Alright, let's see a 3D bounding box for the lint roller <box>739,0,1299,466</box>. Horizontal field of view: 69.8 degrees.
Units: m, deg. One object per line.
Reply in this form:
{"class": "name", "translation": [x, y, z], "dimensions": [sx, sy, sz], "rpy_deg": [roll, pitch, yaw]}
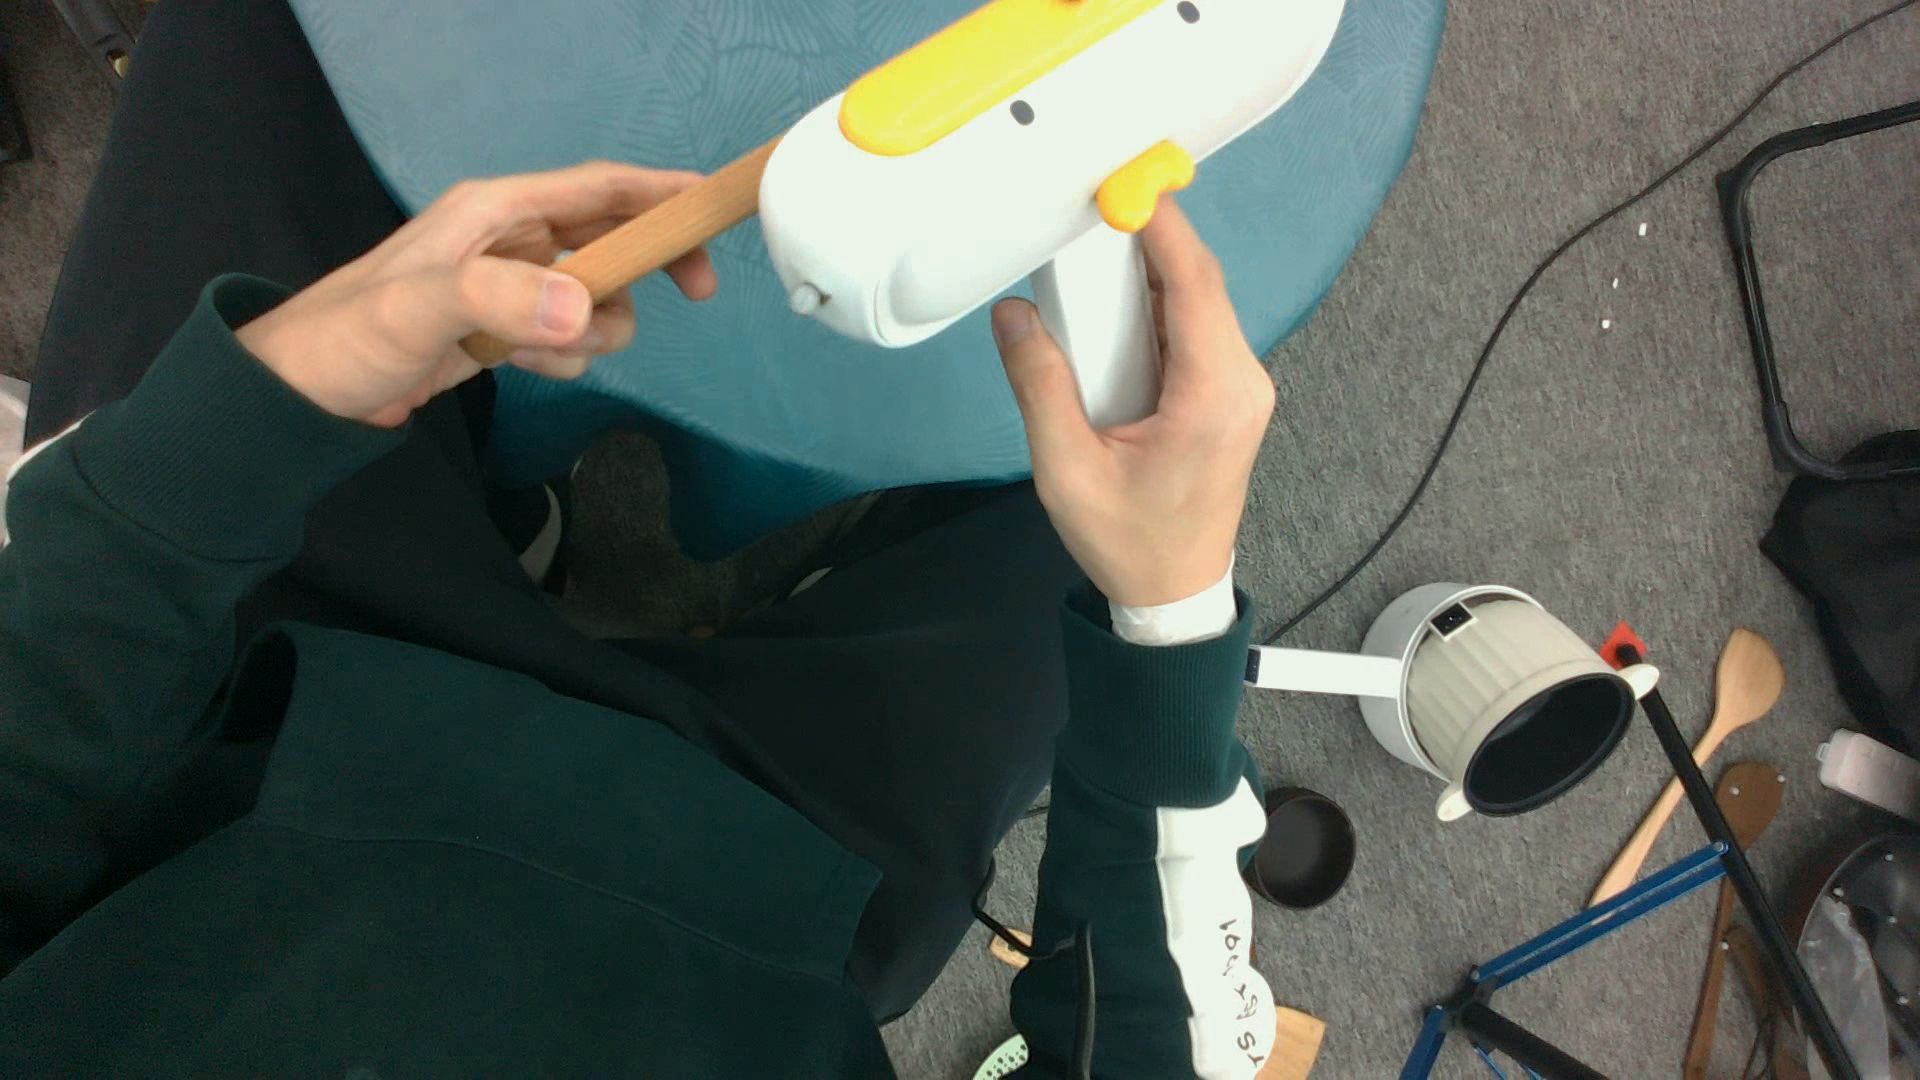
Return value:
{"class": "lint roller", "translation": [0.033, -0.096, 0.444], "dimensions": [0.074, 0.192, 0.193], "rpy_deg": [39, 72, 24]}

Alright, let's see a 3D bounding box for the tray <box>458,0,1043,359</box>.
{"class": "tray", "translation": [-0.062, -0.127, 0.448], "dimensions": [0.231, 0.102, 0.020], "rpy_deg": [-33, 108, -3]}
